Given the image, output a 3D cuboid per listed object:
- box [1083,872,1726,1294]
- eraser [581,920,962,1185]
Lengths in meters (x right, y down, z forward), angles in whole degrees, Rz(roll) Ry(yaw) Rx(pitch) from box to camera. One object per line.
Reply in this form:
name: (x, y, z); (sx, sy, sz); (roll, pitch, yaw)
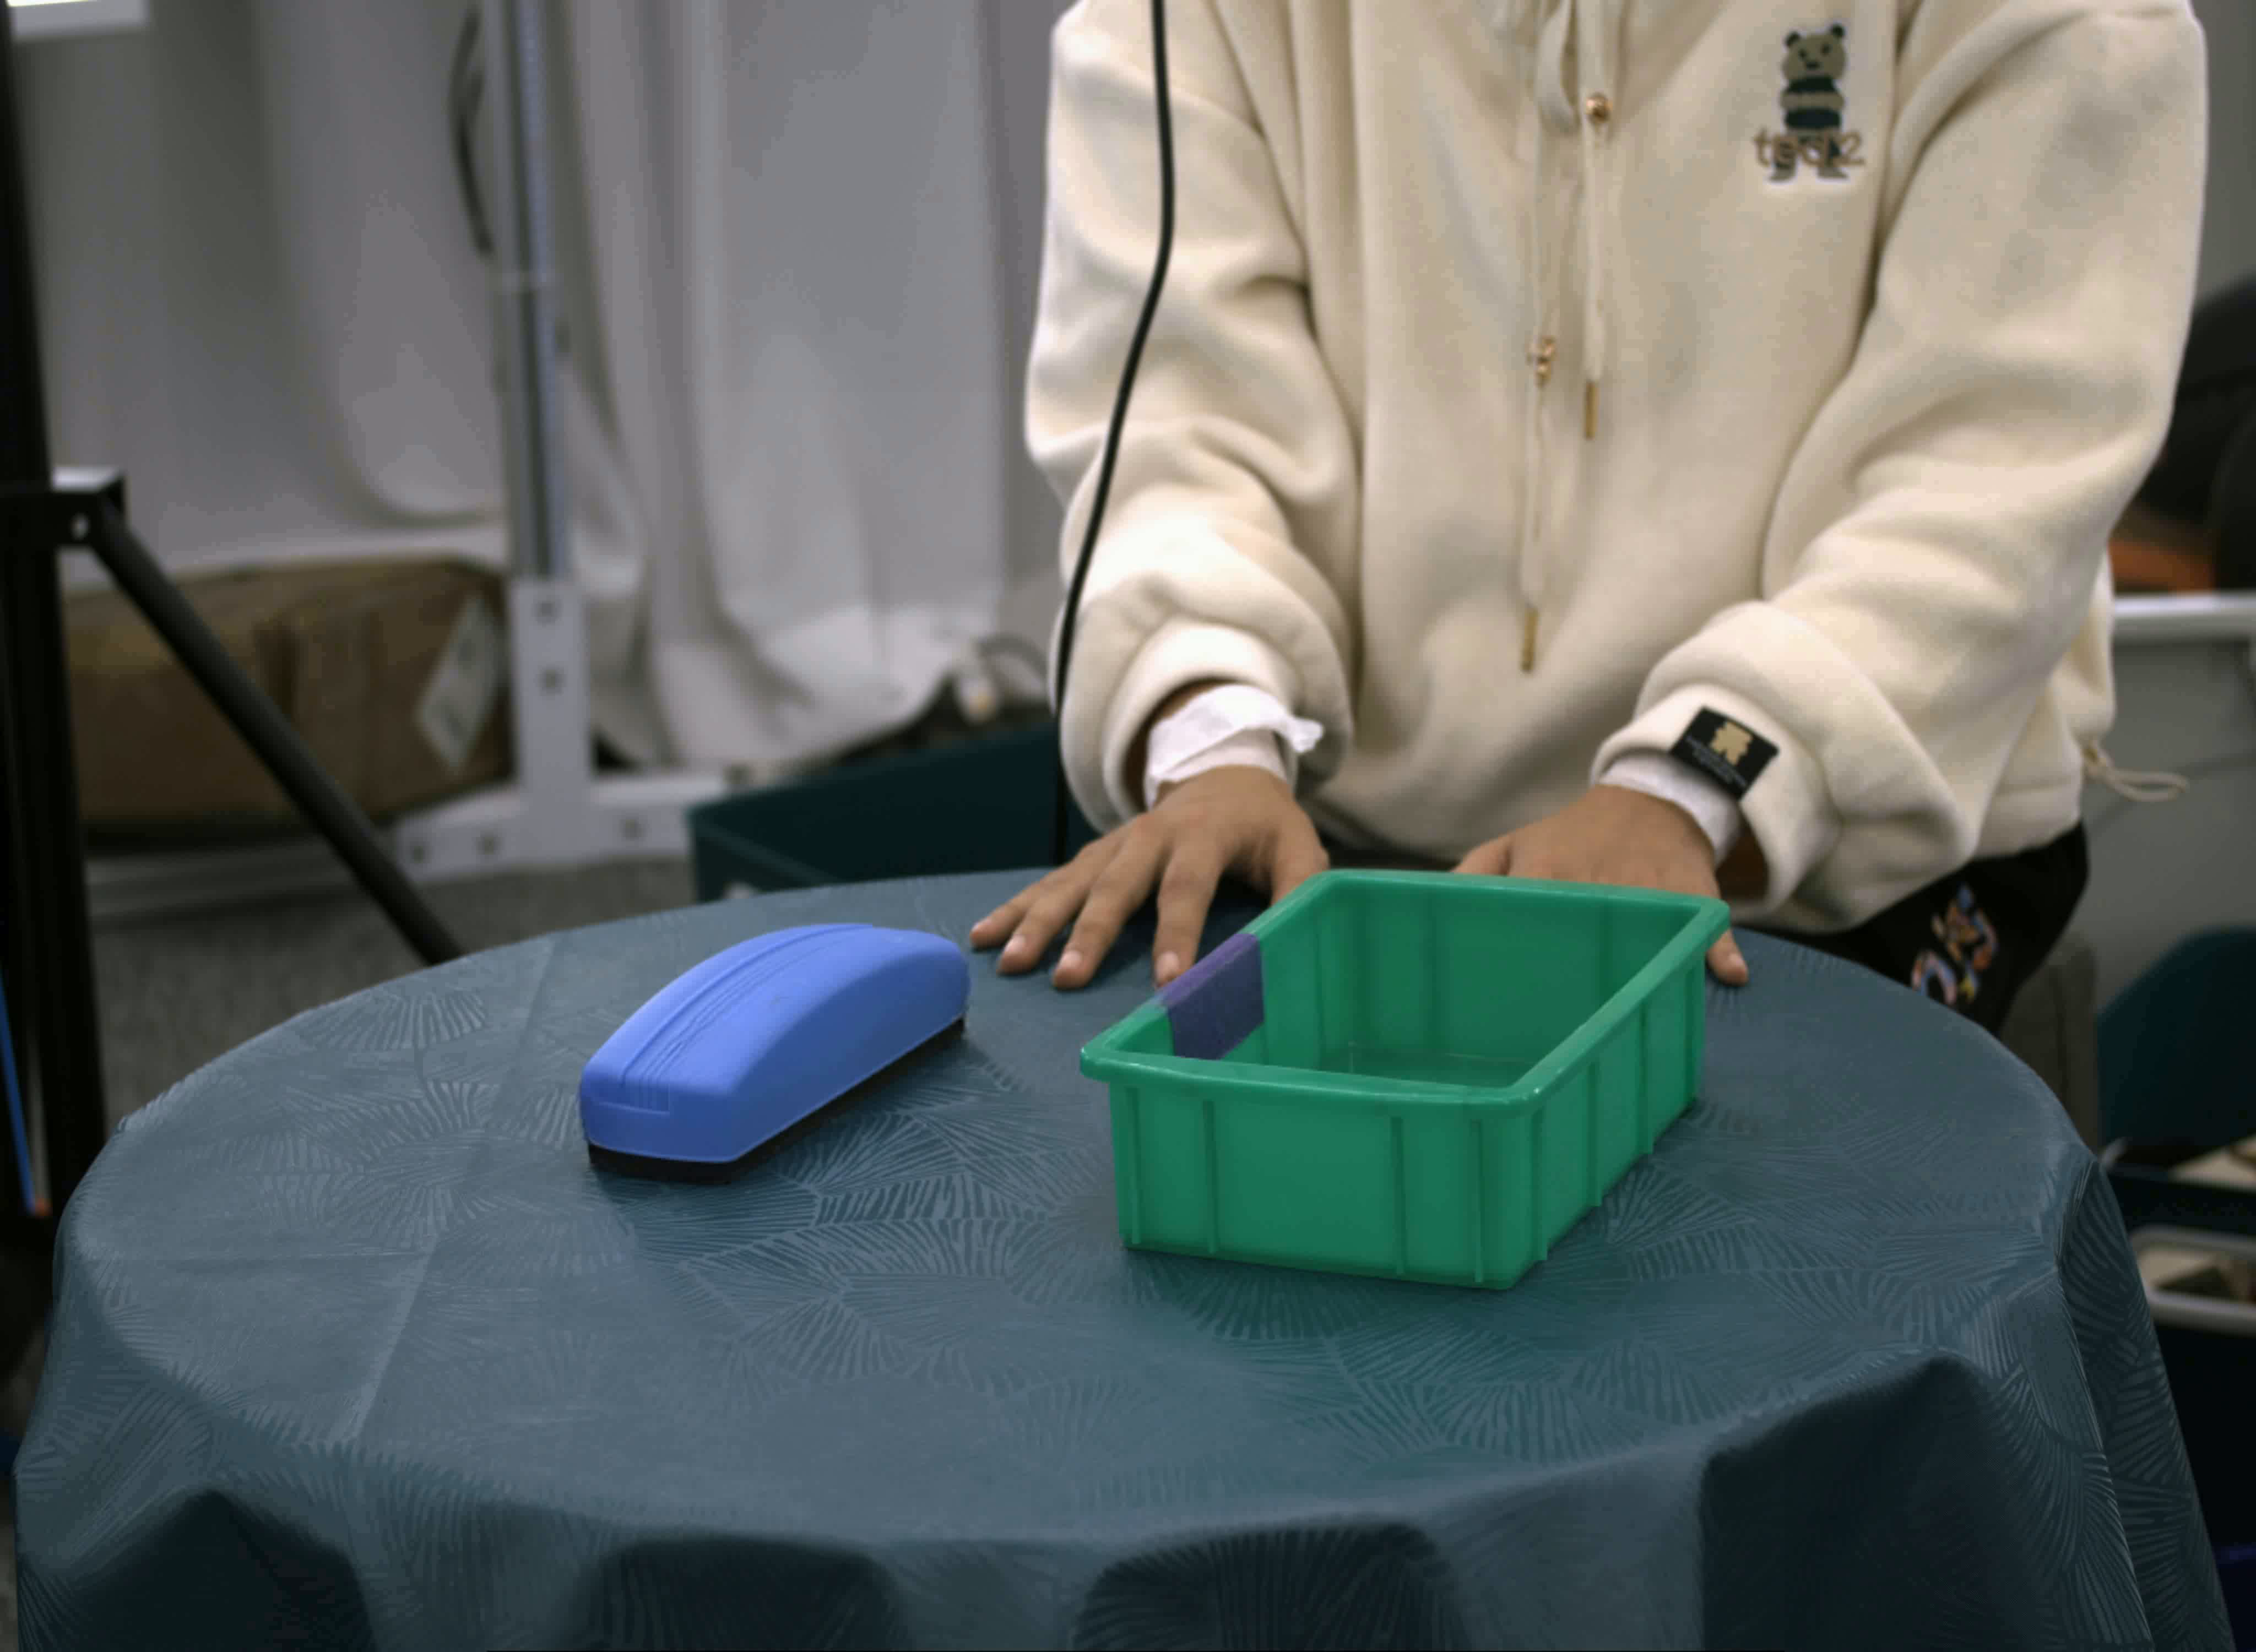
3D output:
box: (0.086, 0.074, 1.553); (0.140, 0.065, 0.208); (2, 17, 23)
eraser: (-0.109, 0.063, 1.650); (0.054, 0.047, 0.159); (6, 18, 26)
